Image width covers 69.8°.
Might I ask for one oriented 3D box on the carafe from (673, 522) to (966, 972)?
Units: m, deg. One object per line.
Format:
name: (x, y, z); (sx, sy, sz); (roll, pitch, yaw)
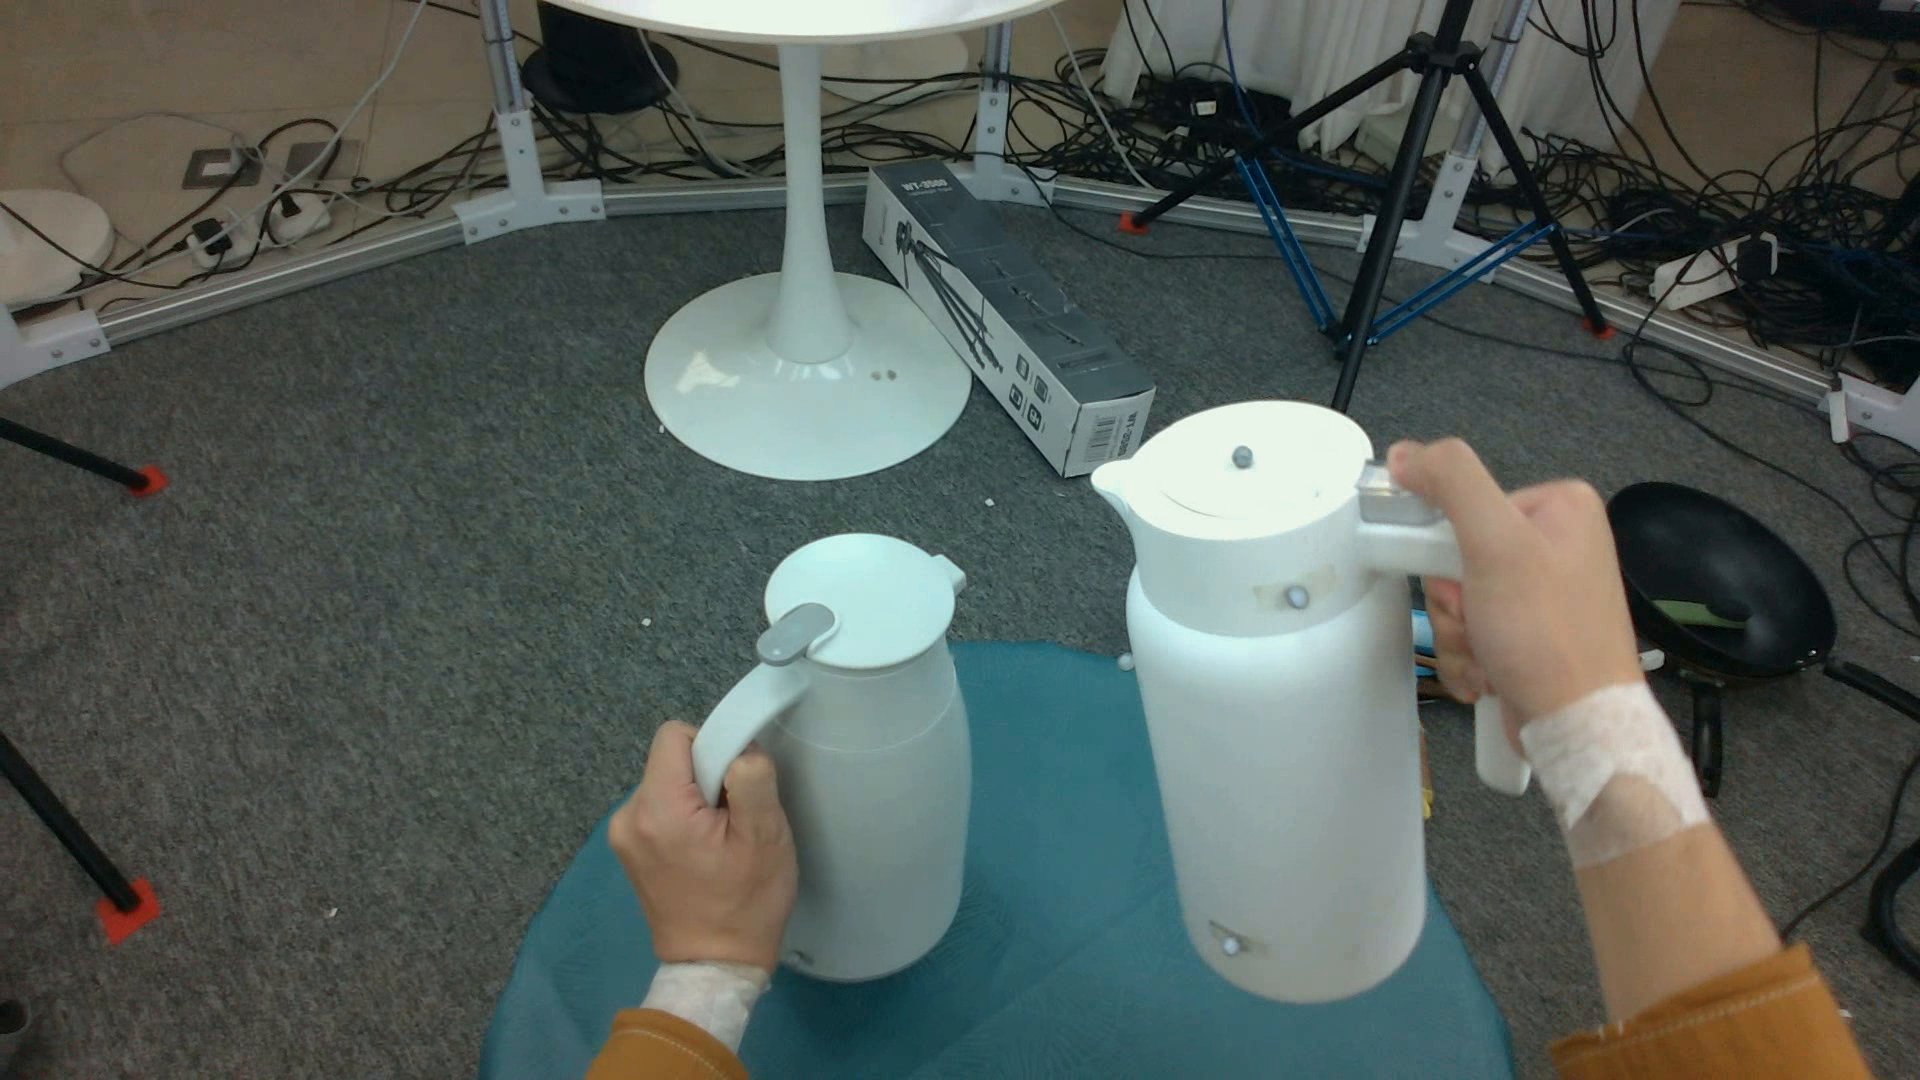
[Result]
carafe: (-0.073, 0.116, 0.726); (0.168, 0.247, 0.132); (-31, 54, -33)

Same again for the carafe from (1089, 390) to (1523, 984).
carafe: (0.157, 0.073, 0.612); (0.172, 0.268, 0.124); (6, 37, 28)
